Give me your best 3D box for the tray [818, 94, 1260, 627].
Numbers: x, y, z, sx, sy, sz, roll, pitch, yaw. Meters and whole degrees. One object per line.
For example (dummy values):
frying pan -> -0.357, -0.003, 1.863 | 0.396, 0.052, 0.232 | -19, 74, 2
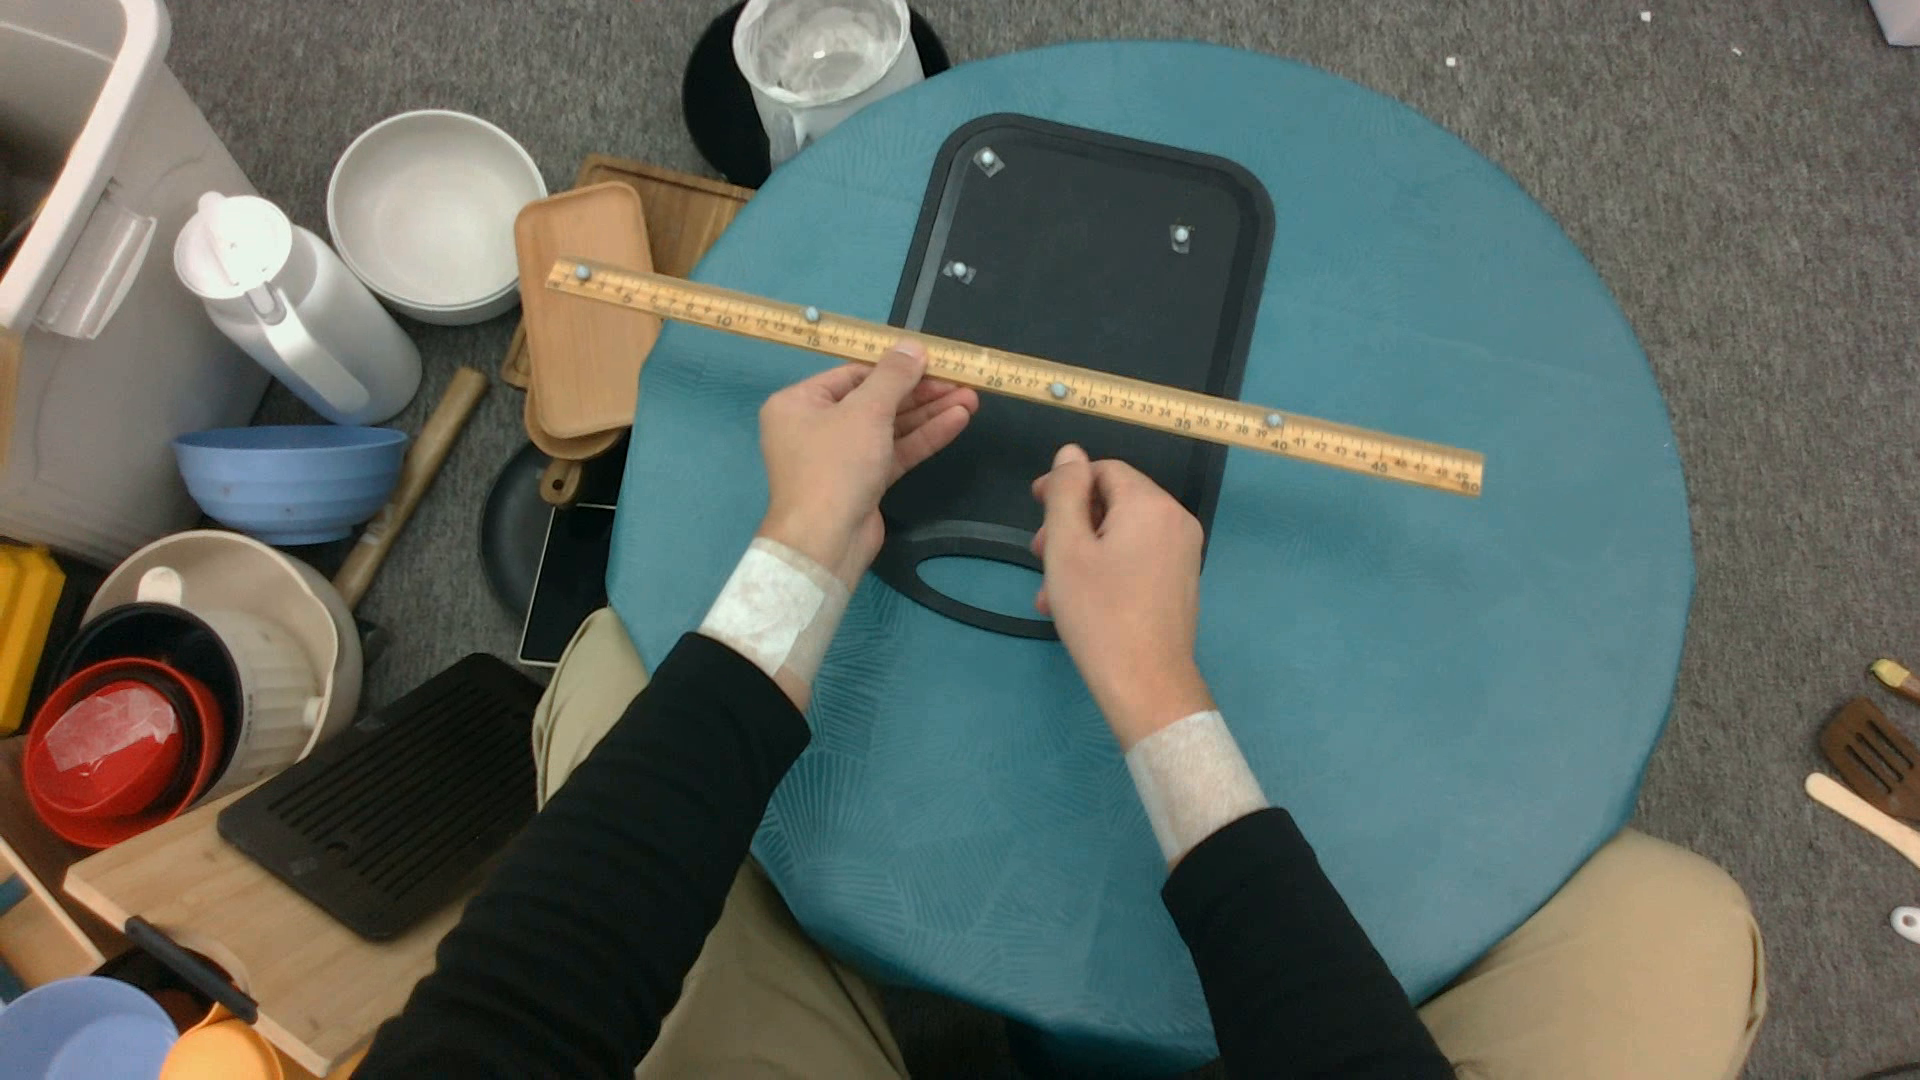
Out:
tray -> 0.048, -0.108, 0.794 | 0.211, 0.010, 0.326 | 14, 73, 4

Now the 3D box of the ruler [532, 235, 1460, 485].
ruler -> 0.011, -0.097, 0.723 | 0.500, 0.006, 0.027 | 14, 64, 6
